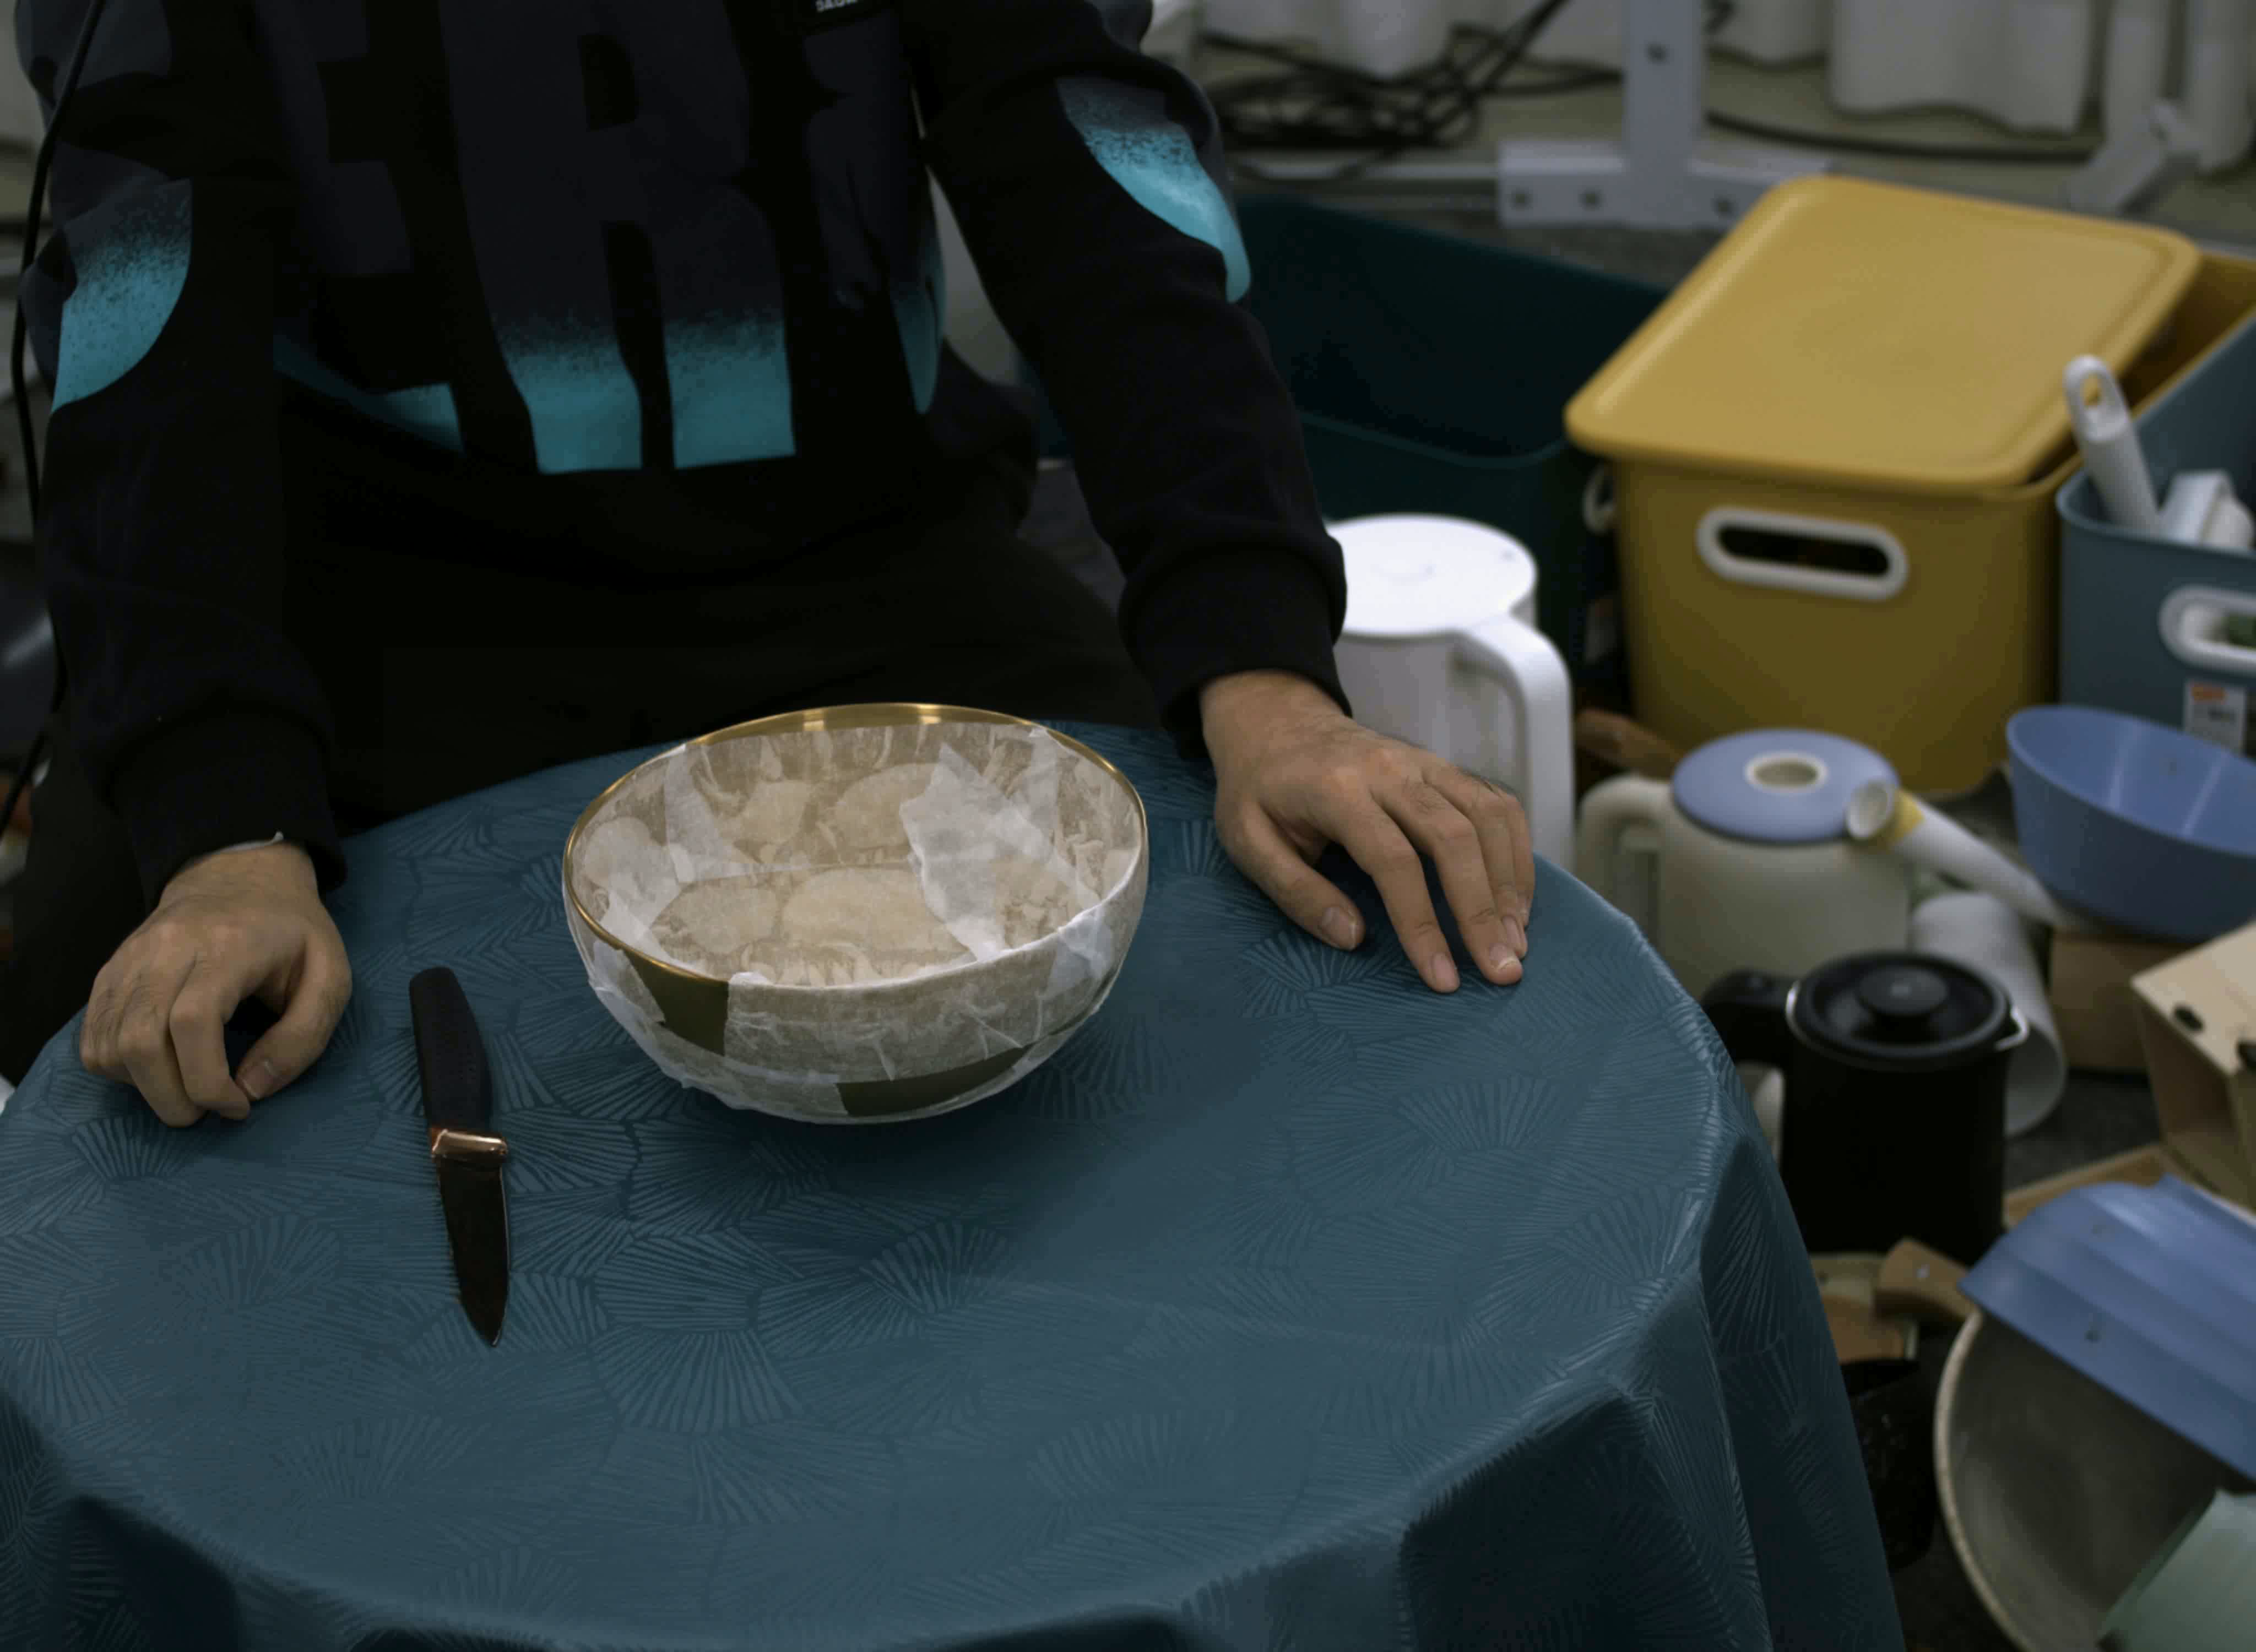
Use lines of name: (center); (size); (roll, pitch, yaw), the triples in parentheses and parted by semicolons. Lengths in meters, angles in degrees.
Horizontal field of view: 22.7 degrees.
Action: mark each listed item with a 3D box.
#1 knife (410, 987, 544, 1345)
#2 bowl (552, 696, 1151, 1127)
knife: (-0.220, 0.113, 1.890); (0.026, 0.017, 0.228); (-1, 28, -14)
bowl: (-0.089, 0.041, 1.926); (0.213, 0.093, 0.218); (-4, 28, 2)
